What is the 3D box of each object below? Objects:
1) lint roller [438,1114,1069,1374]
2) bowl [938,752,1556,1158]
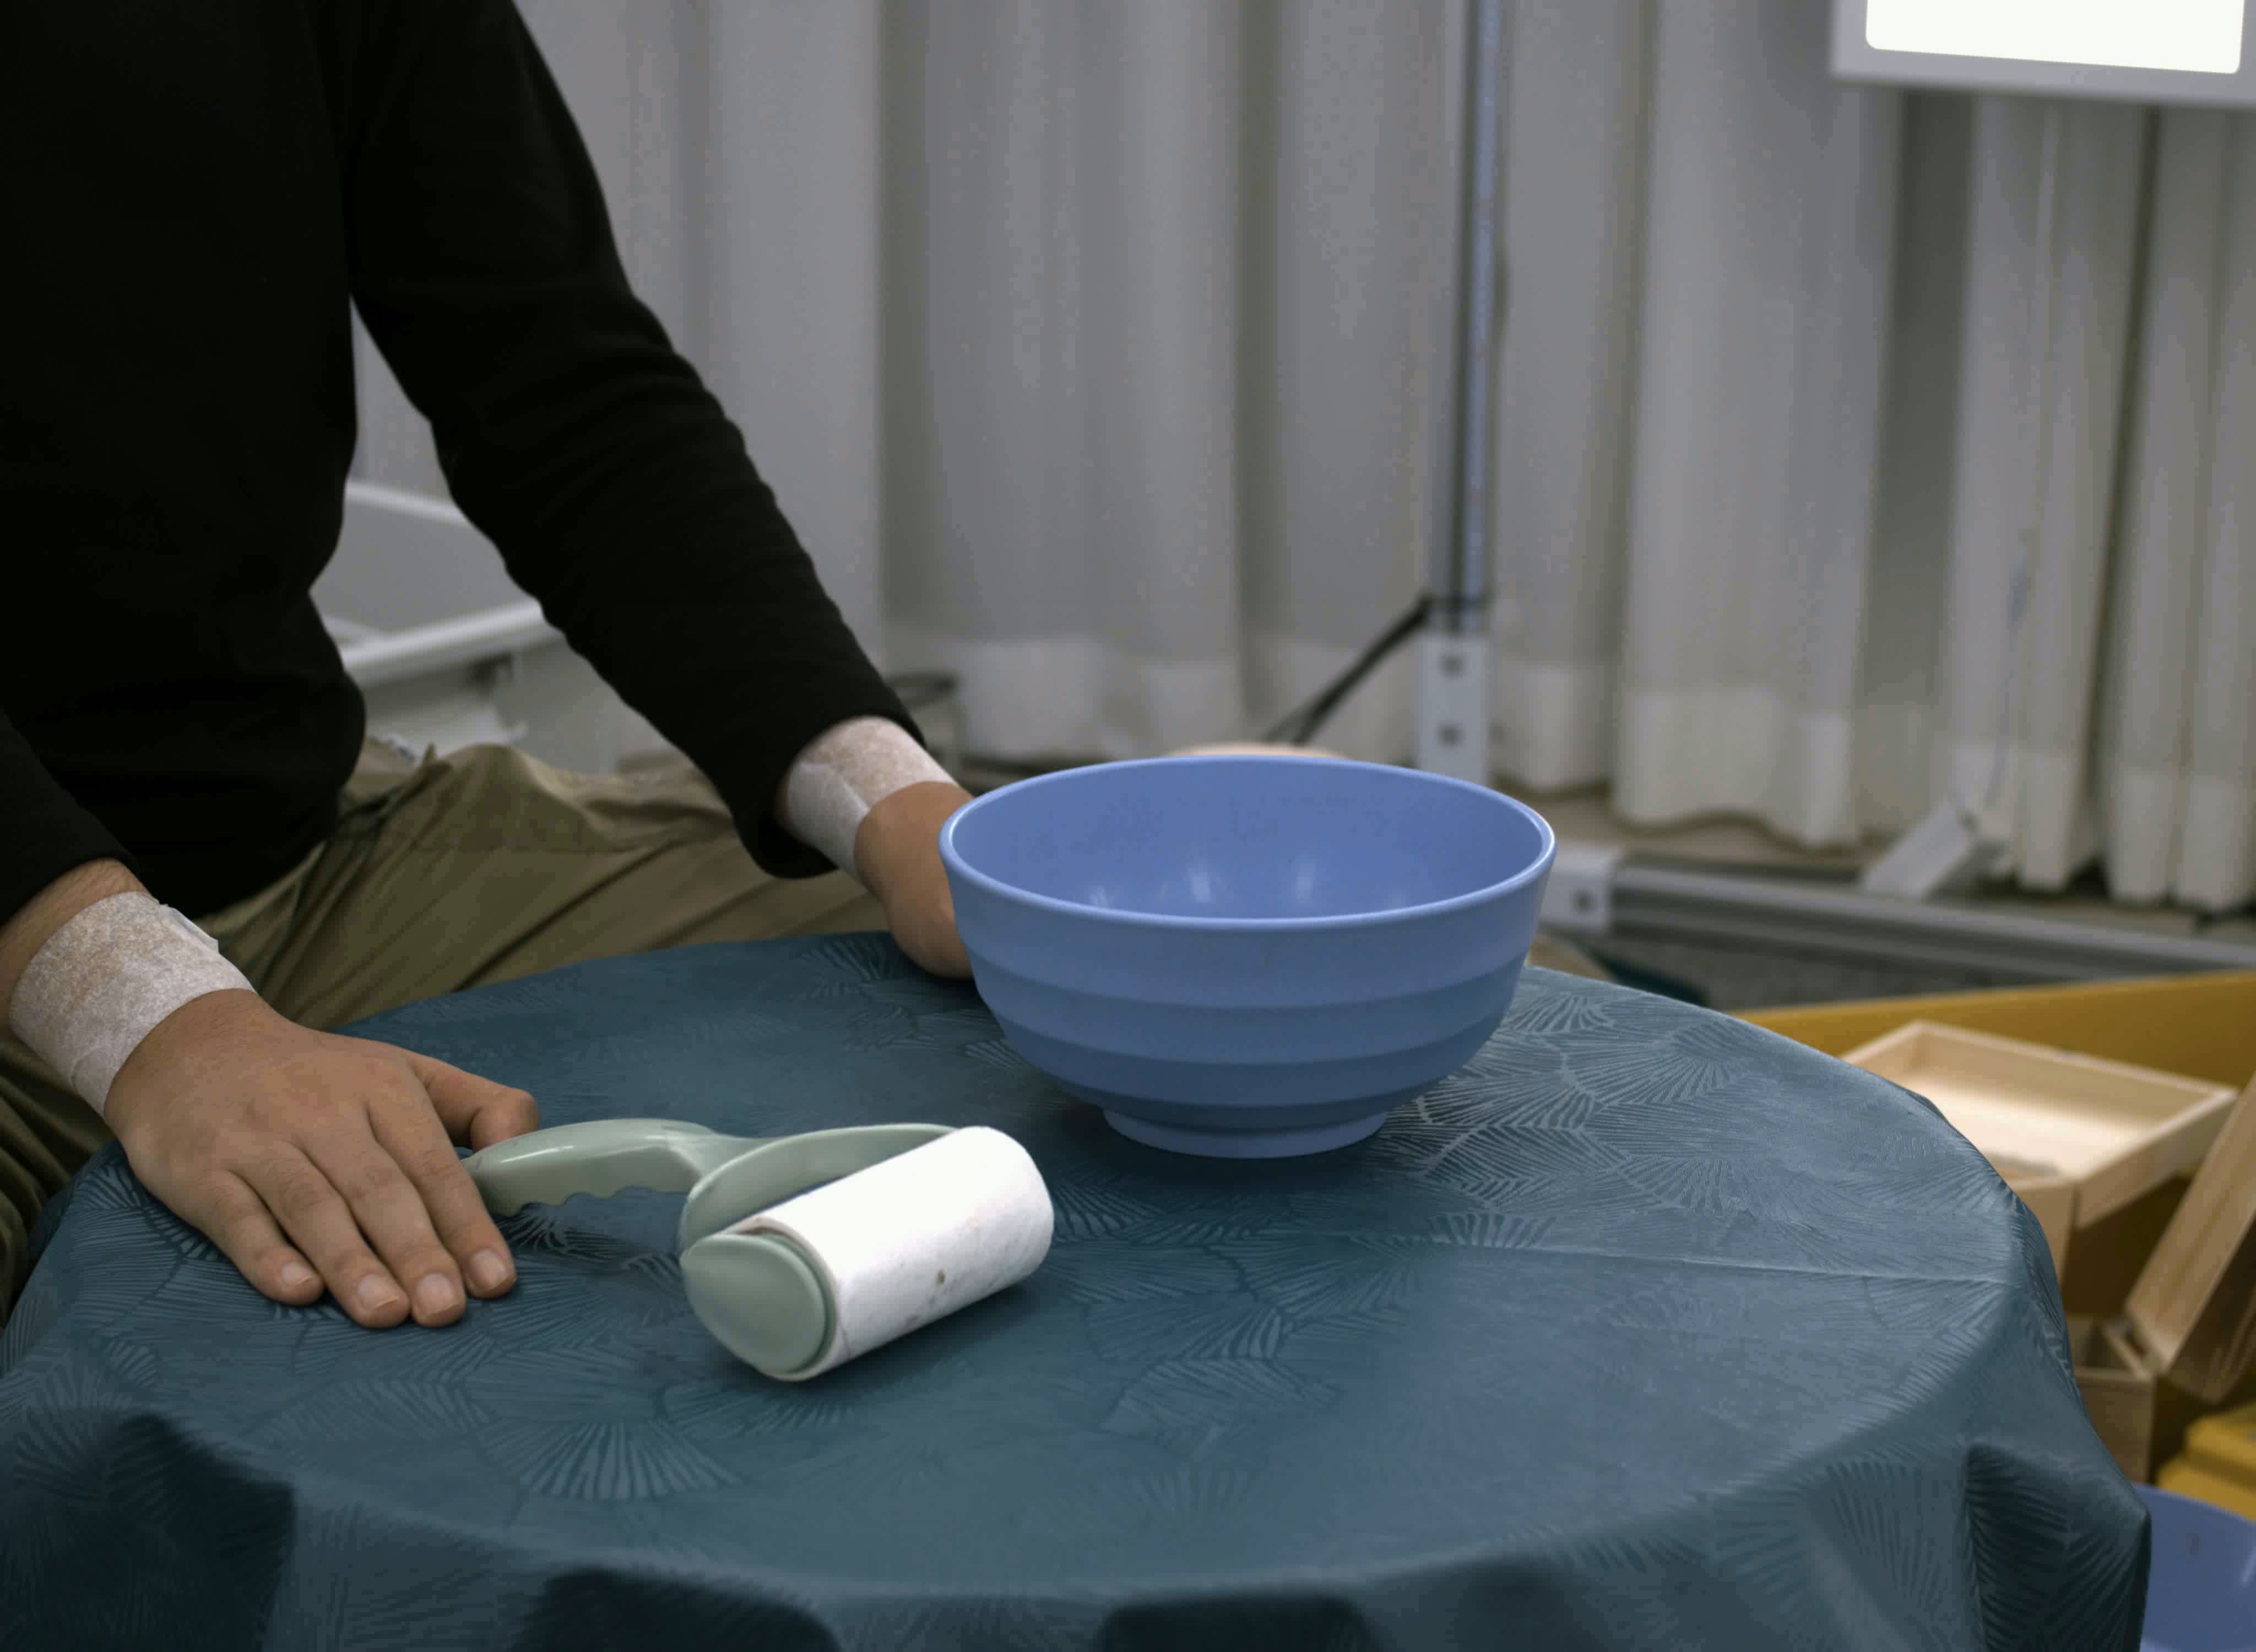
[{"bbox_3d":[-0.123,0.109,1.543,0.195,0.049,0.117,10,20,33],"label":"lint roller"},{"bbox_3d":[0.038,0.046,1.680,0.196,0.096,0.195,0,17,1],"label":"bowl"}]
